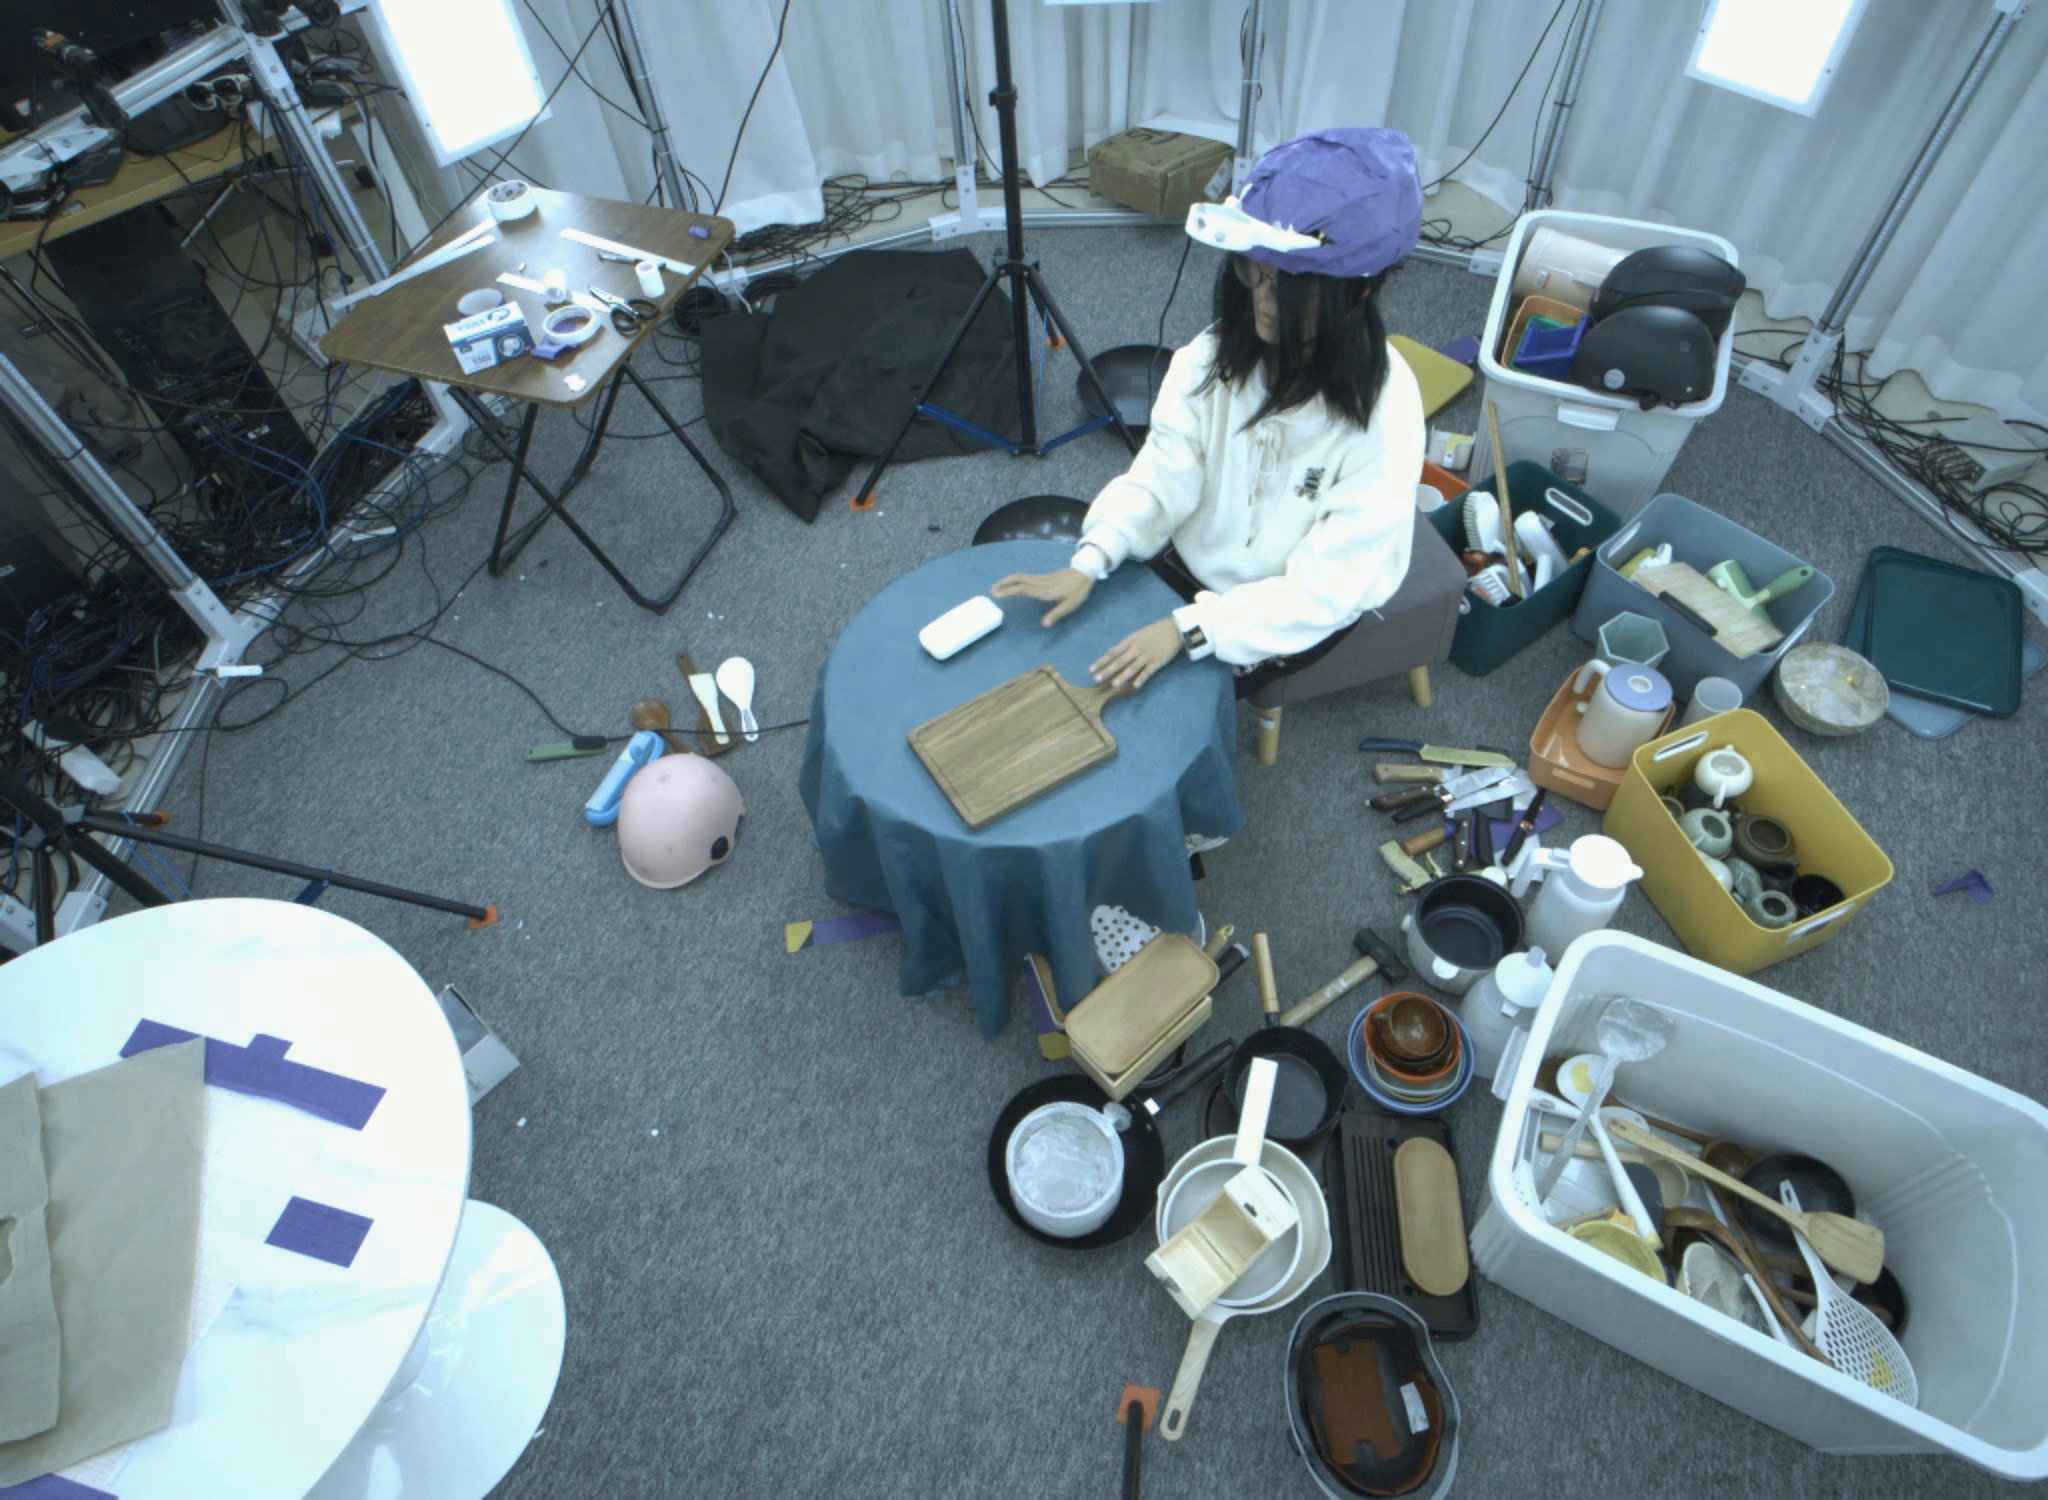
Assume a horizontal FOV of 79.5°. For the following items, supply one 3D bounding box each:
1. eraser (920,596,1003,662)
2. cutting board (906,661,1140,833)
[{"bbox_3d":[-0.096,-0.189,1.906,0.132,0.035,0.062,-33,59,-19],"label":"eraser"},{"bbox_3d":[0.023,-0.033,1.797,0.355,0.023,0.197,-29,59,-17],"label":"cutting board"}]
